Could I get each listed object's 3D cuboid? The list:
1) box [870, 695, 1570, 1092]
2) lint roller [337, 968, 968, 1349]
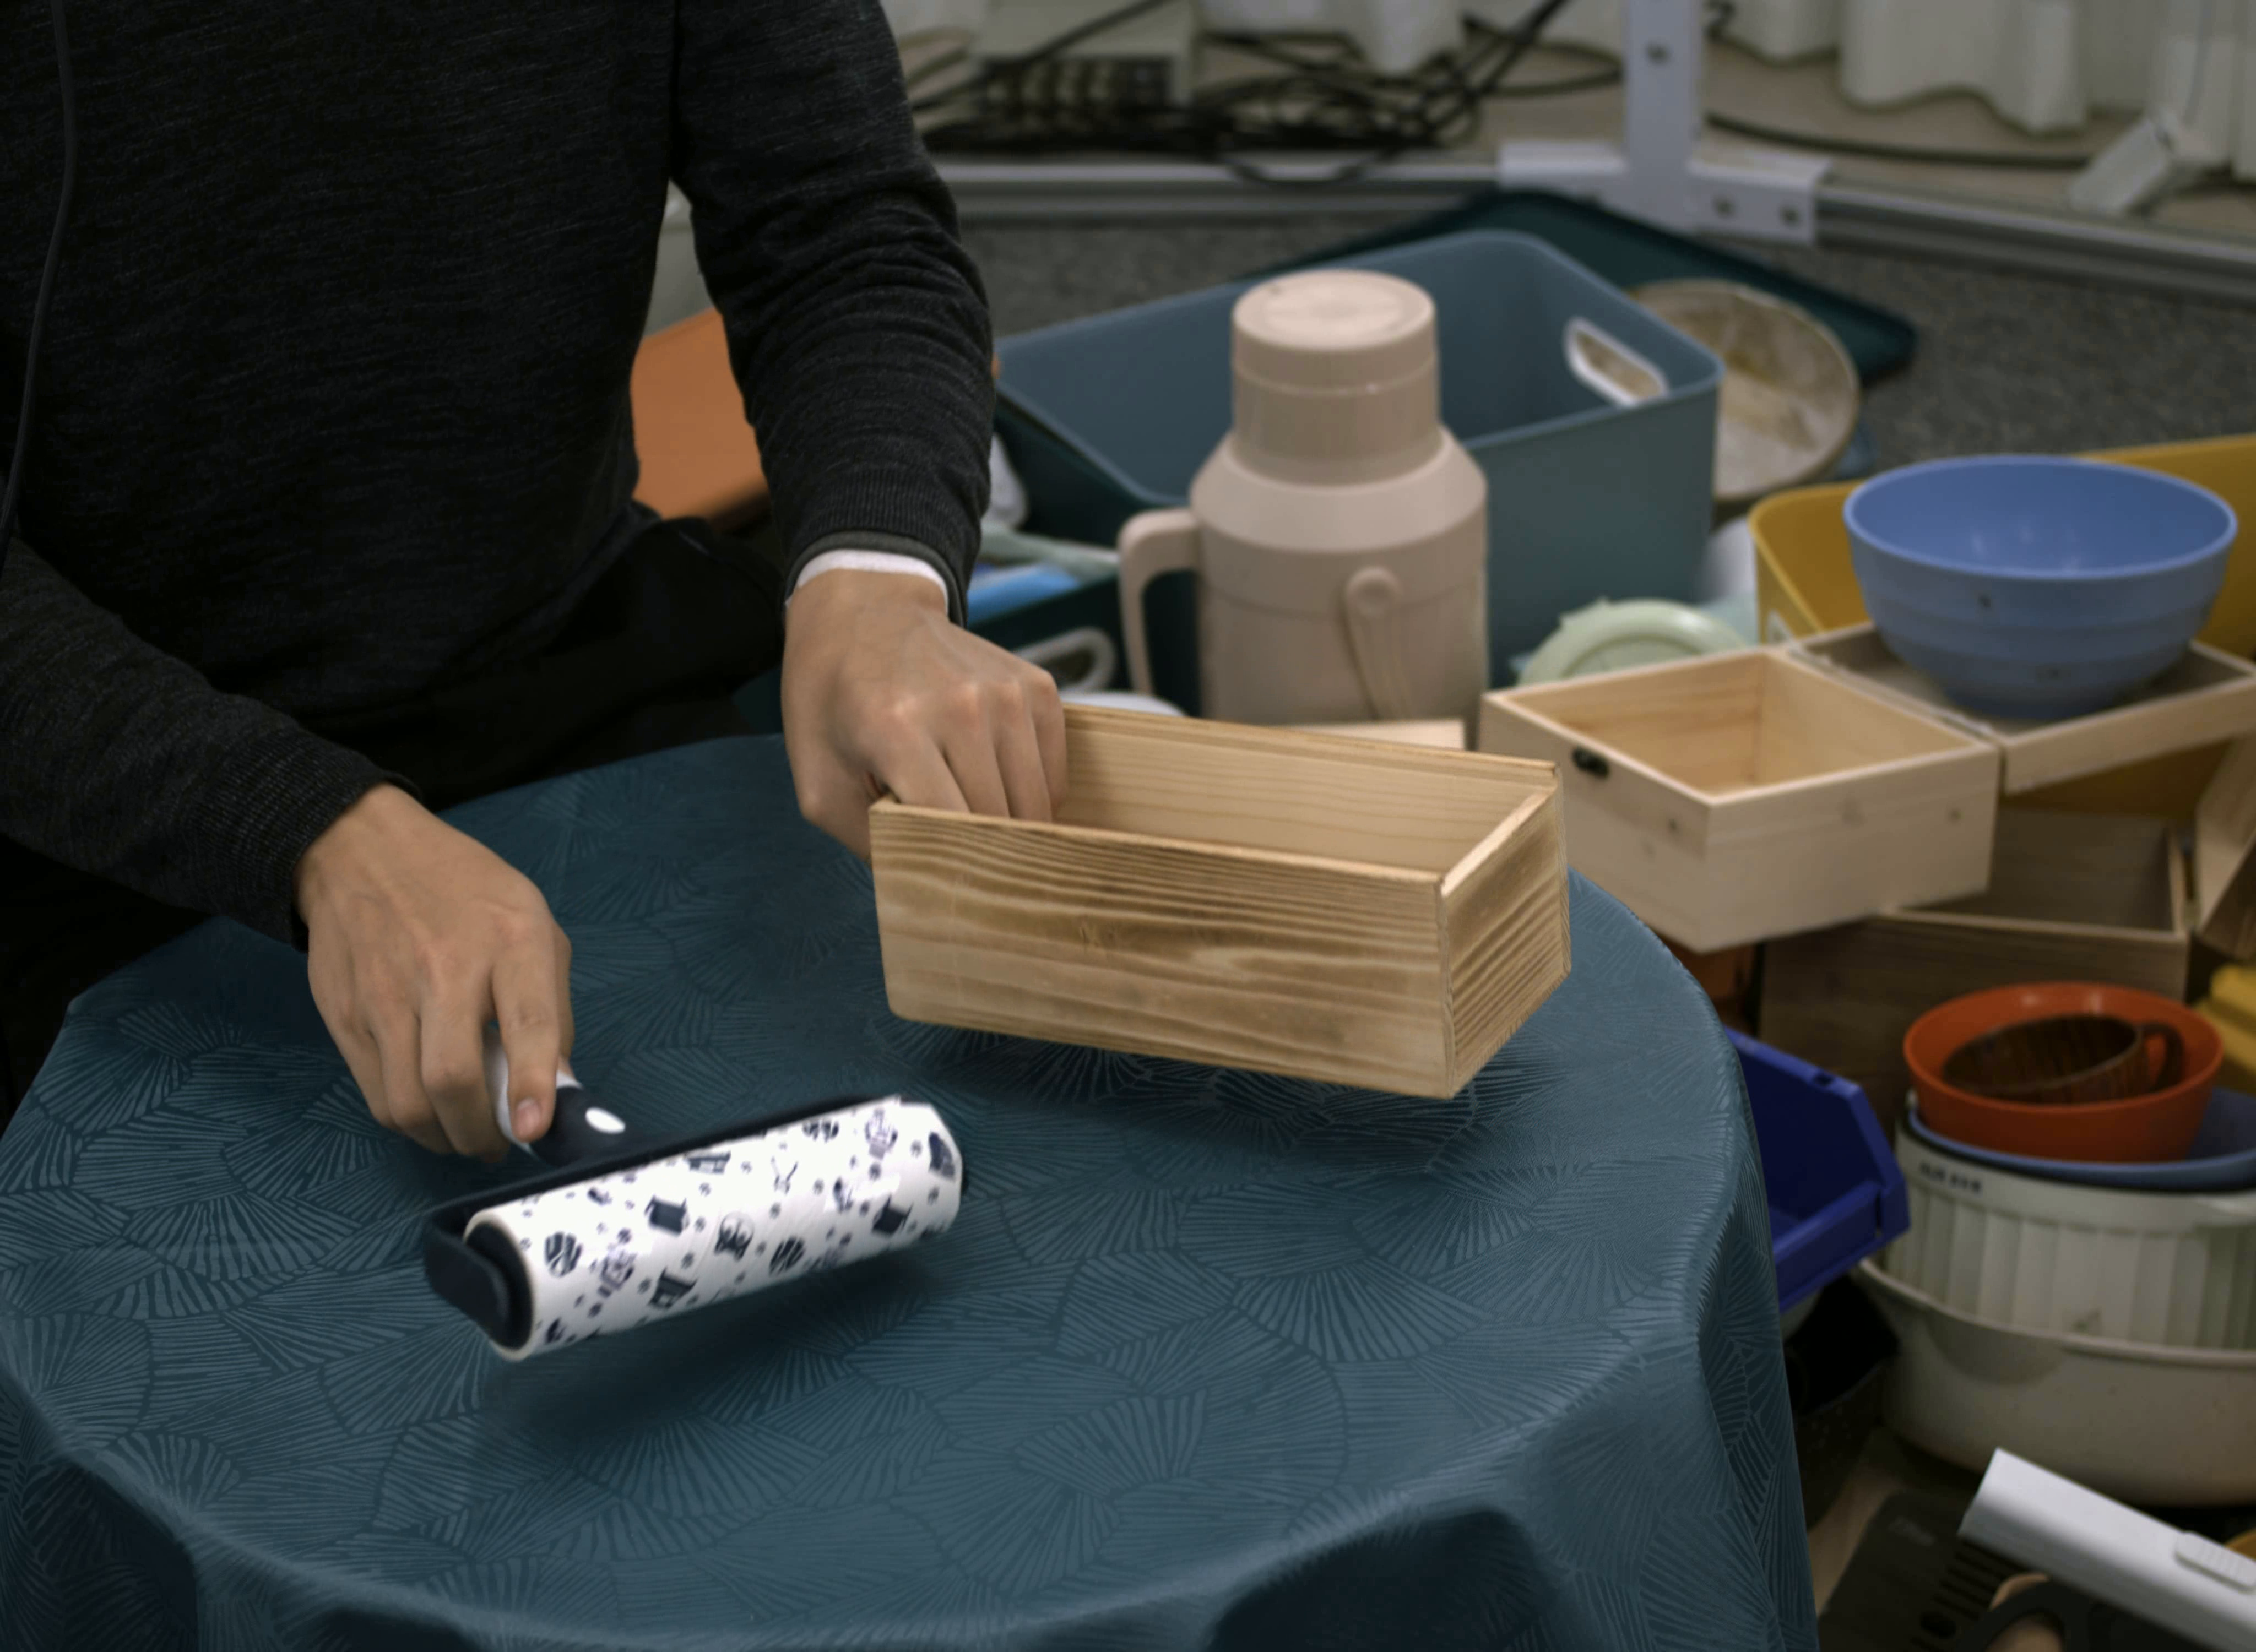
[{"bbox_3d":[0.031,0.021,1.906,0.210,0.079,0.109,7,24,26],"label":"box"},{"bbox_3d":[-0.192,0.090,1.841,0.178,0.050,0.247,-16,28,-36],"label":"lint roller"}]
